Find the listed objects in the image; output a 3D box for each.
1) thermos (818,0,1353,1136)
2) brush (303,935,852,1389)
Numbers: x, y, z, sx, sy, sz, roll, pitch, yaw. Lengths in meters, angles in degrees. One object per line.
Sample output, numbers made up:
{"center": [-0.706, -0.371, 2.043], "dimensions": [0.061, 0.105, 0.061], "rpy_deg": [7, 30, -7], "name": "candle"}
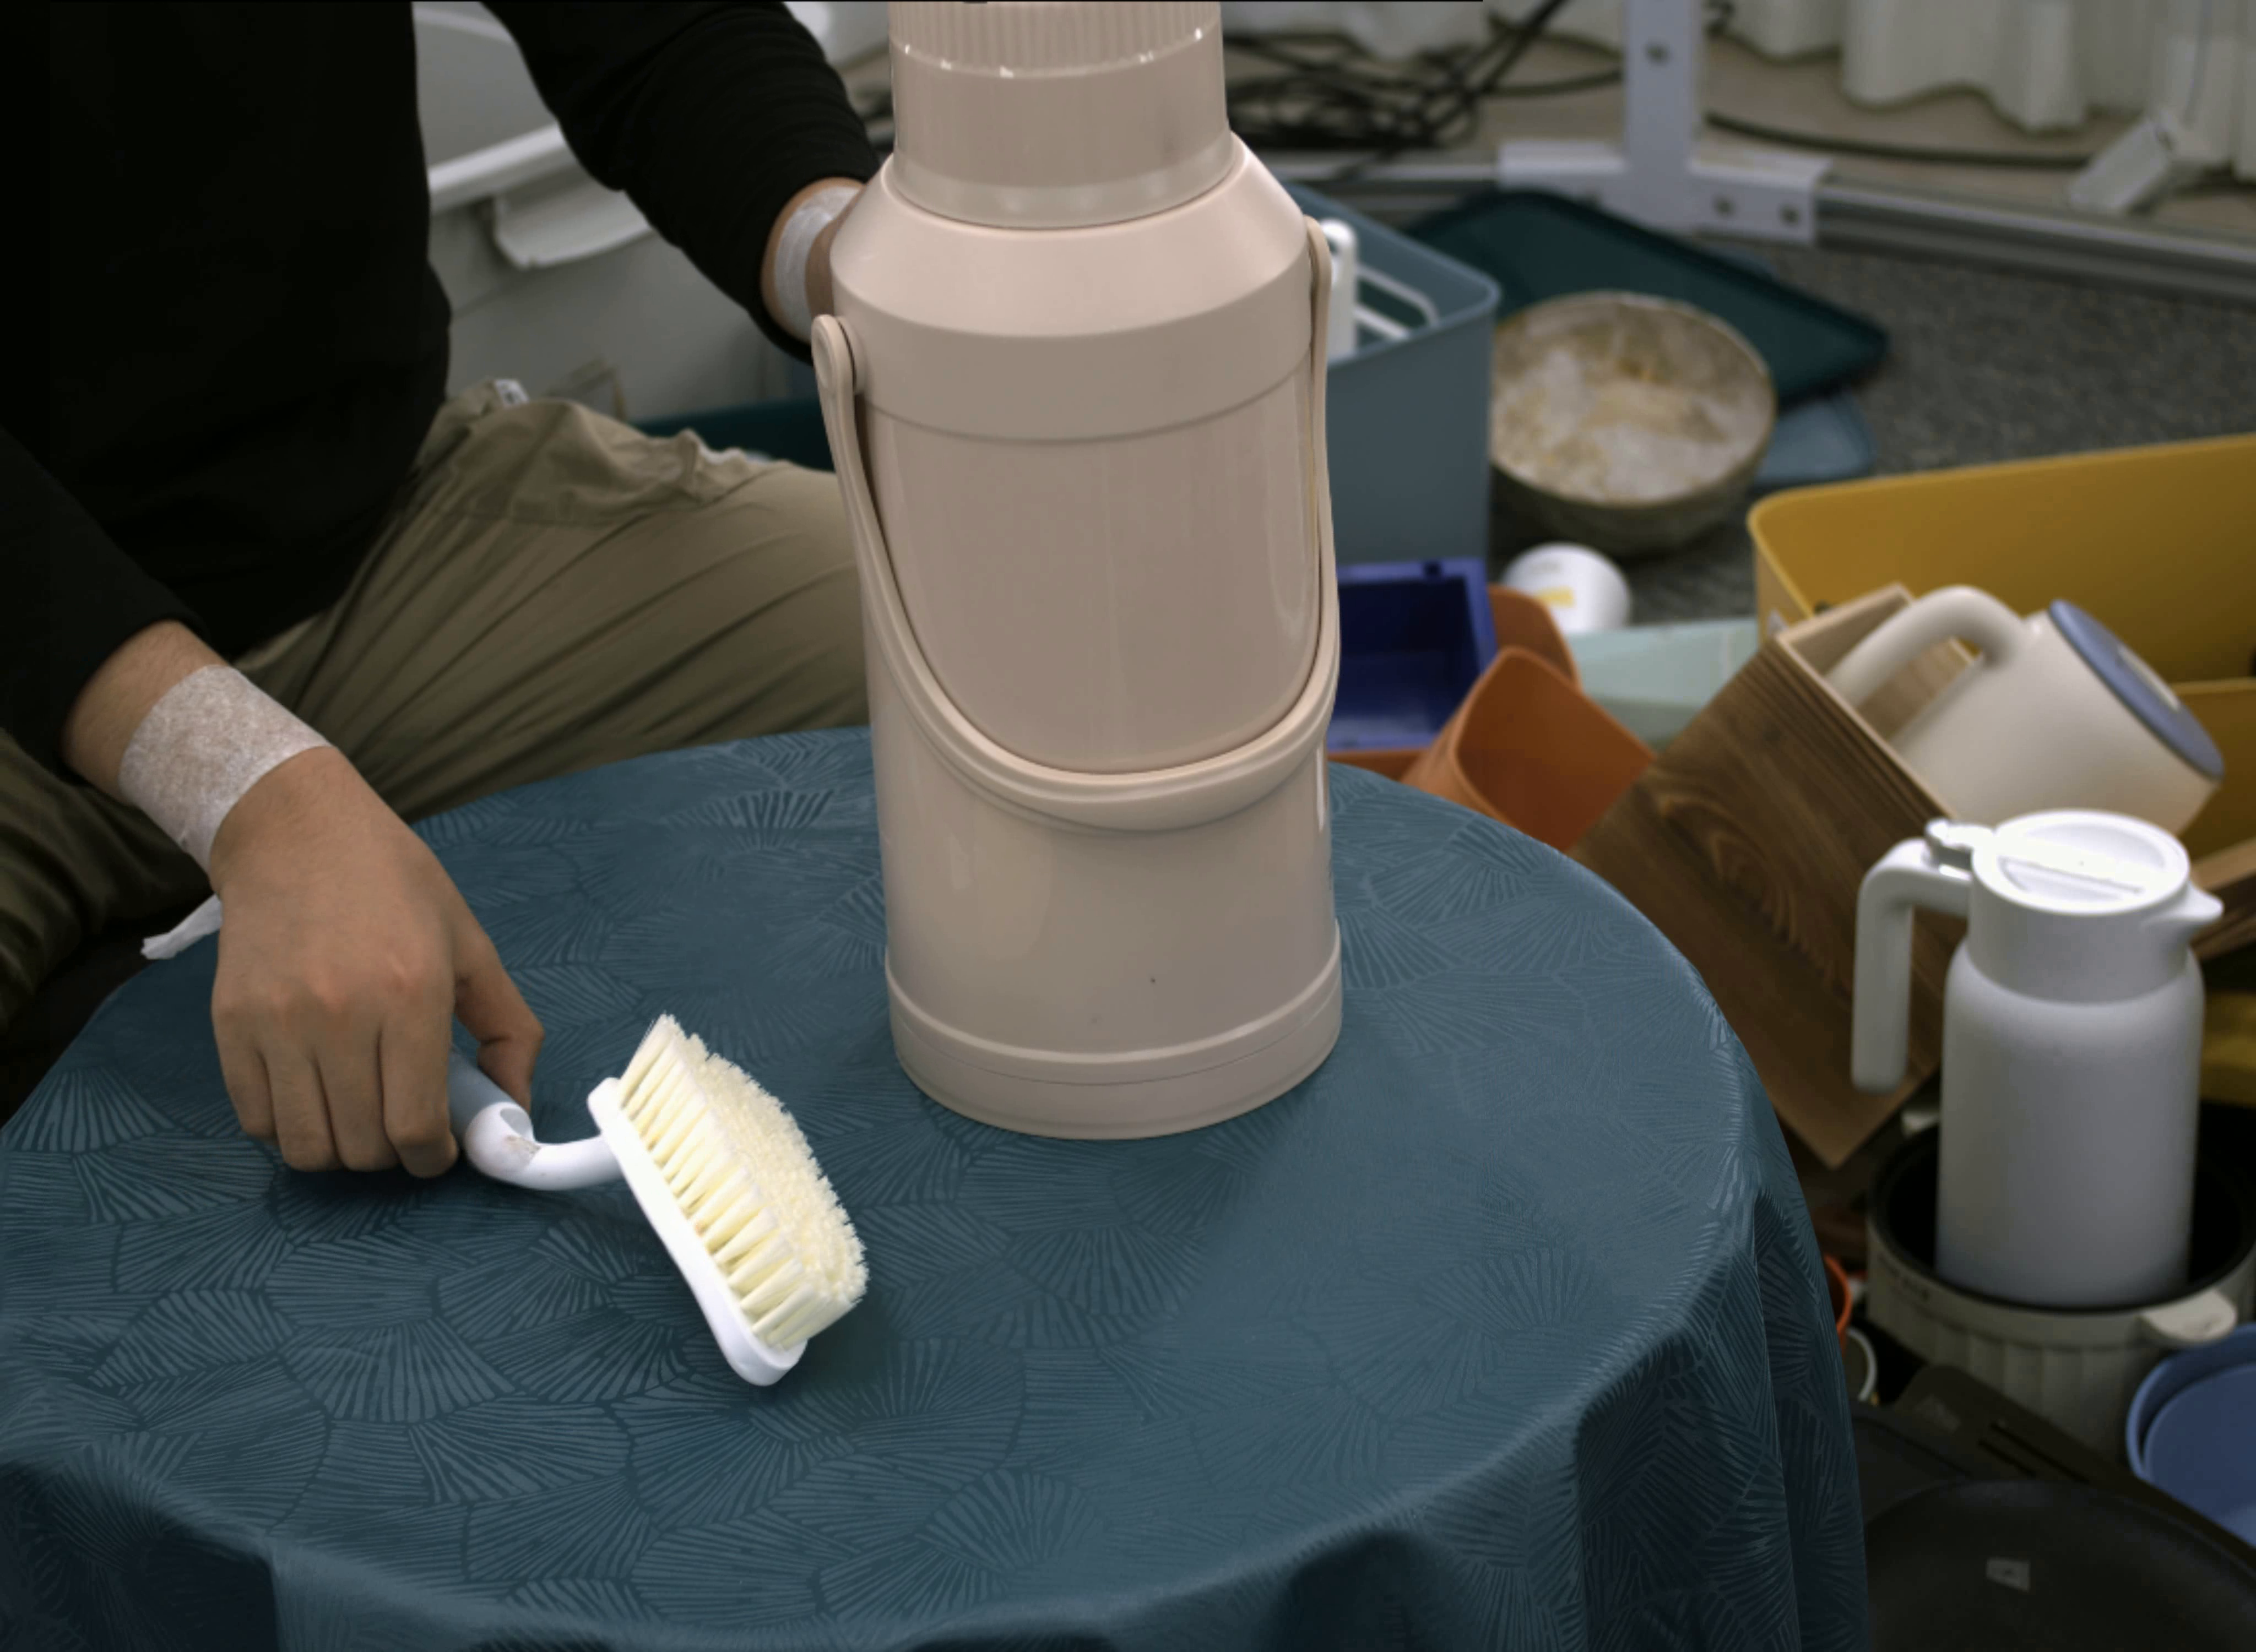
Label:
{"center": [-0.016, -0.113, 1.889], "dimensions": [0.176, 0.402, 0.208], "rpy_deg": [-15, 29, -19], "name": "thermos"}
{"center": [-0.182, 0.082, 1.873], "dimensions": [0.085, 0.082, 0.327], "rpy_deg": [-19, 32, -26], "name": "brush"}
